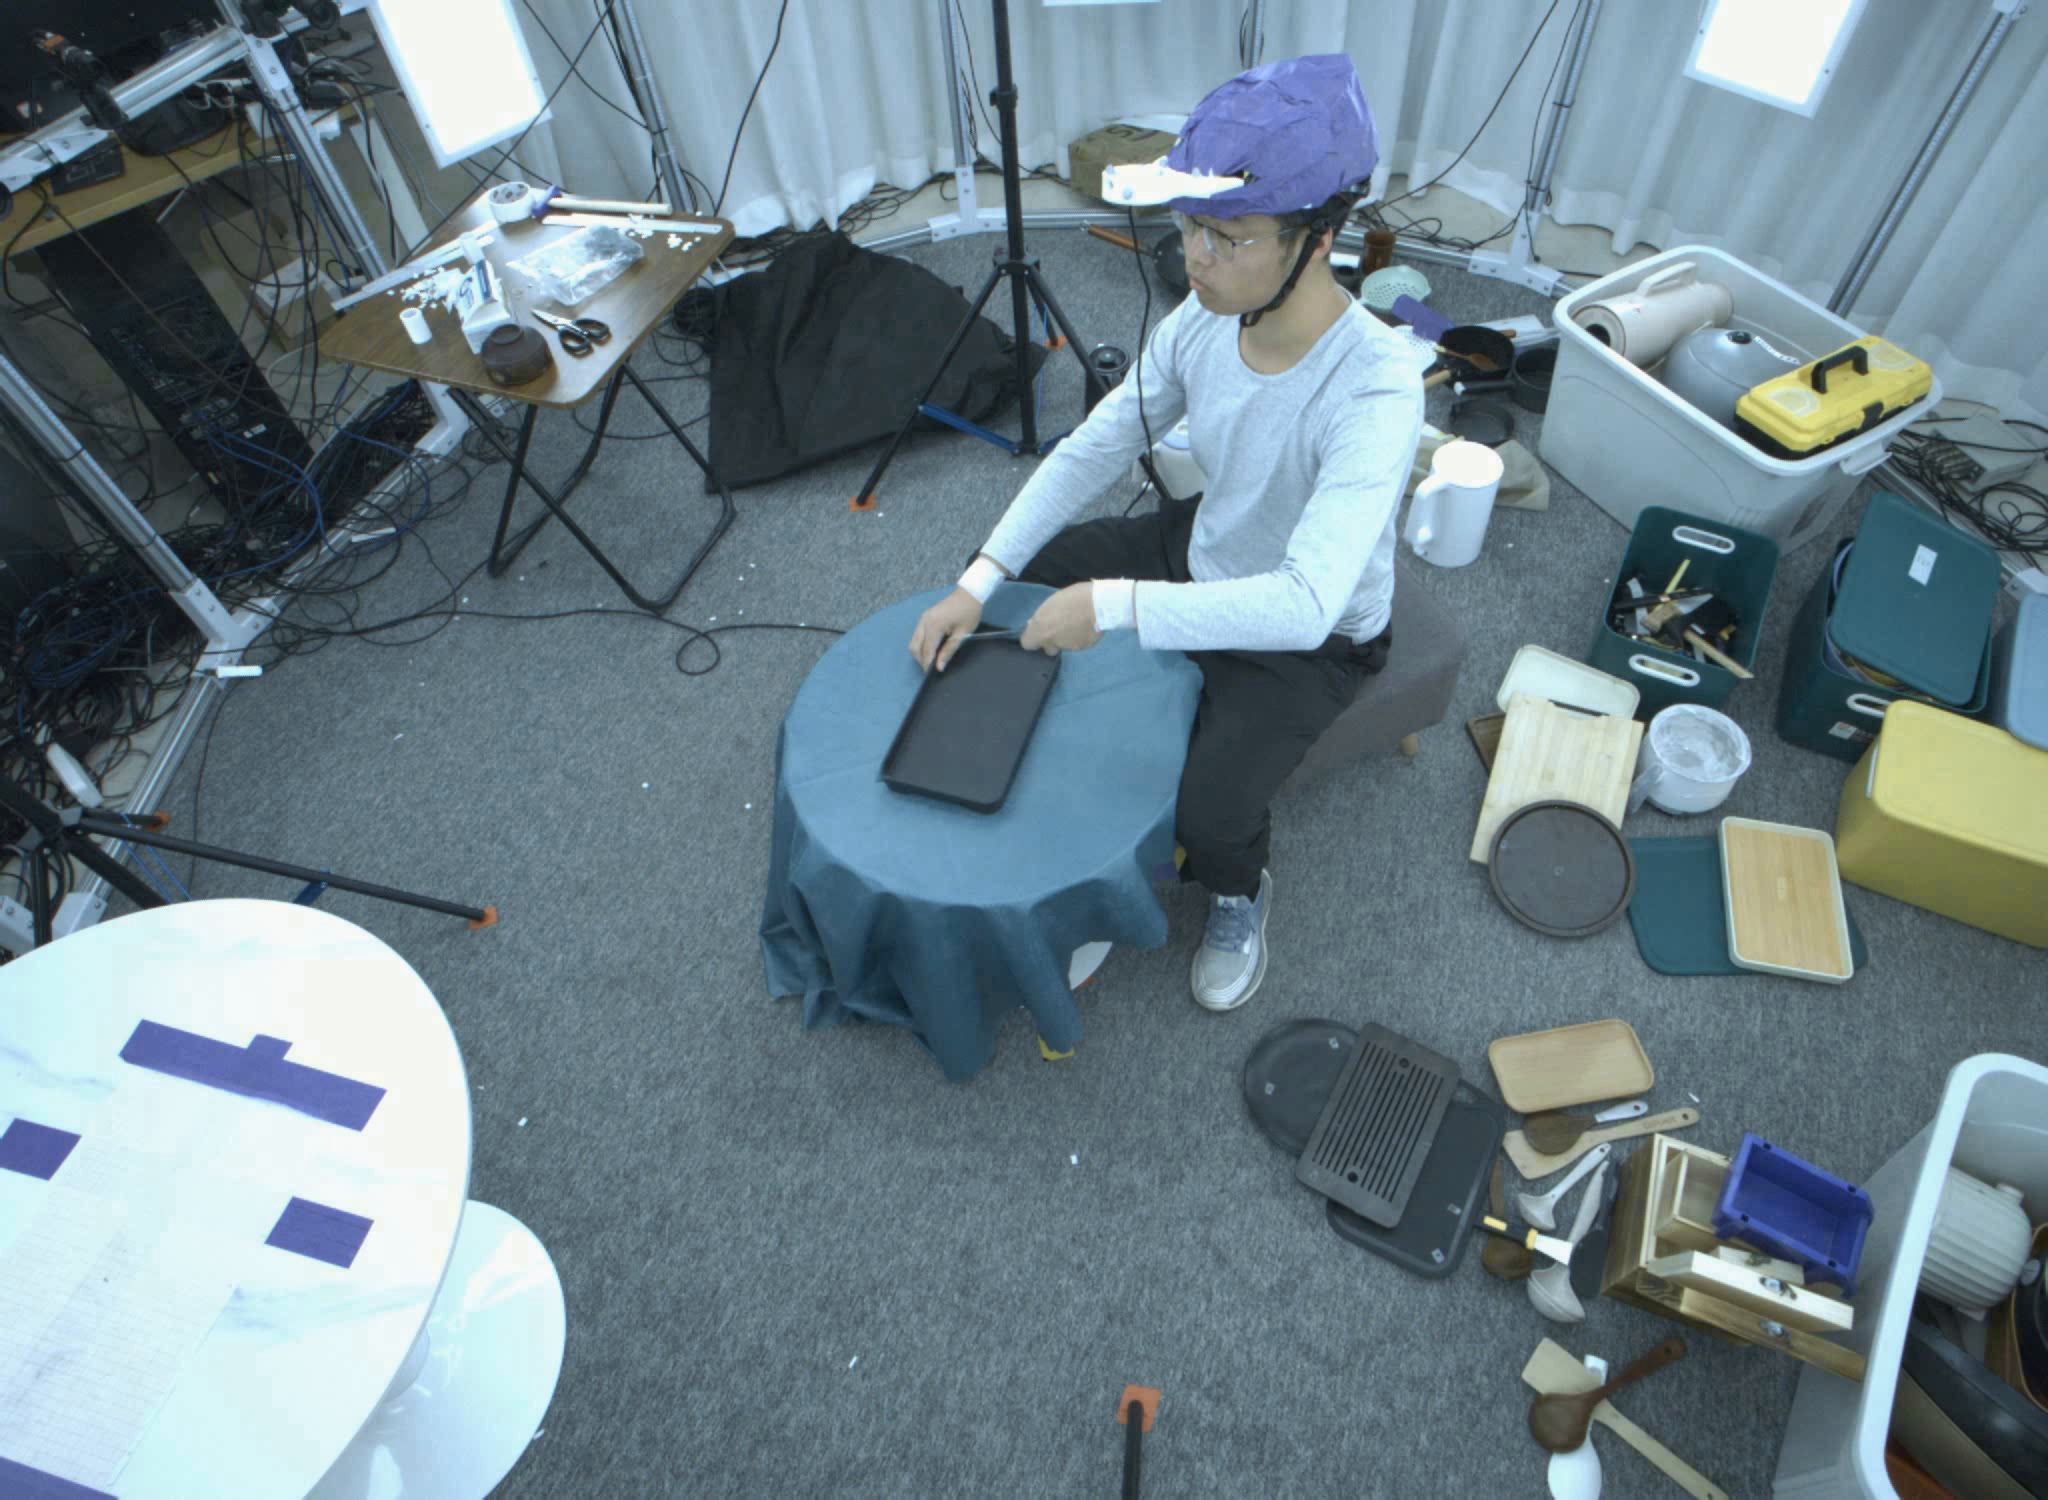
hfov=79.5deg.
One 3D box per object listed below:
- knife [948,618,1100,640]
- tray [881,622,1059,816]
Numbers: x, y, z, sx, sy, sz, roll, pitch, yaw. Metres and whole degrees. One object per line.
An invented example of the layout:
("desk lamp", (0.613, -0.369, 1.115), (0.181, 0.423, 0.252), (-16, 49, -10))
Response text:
("knife", (-0.007, -0.160, 1.658), (0.234, 0.025, 0.016), (-2, 76, 30))
("tray", (-0.075, -0.053, 1.813), (0.183, 0.037, 0.317), (13, 55, 10))
